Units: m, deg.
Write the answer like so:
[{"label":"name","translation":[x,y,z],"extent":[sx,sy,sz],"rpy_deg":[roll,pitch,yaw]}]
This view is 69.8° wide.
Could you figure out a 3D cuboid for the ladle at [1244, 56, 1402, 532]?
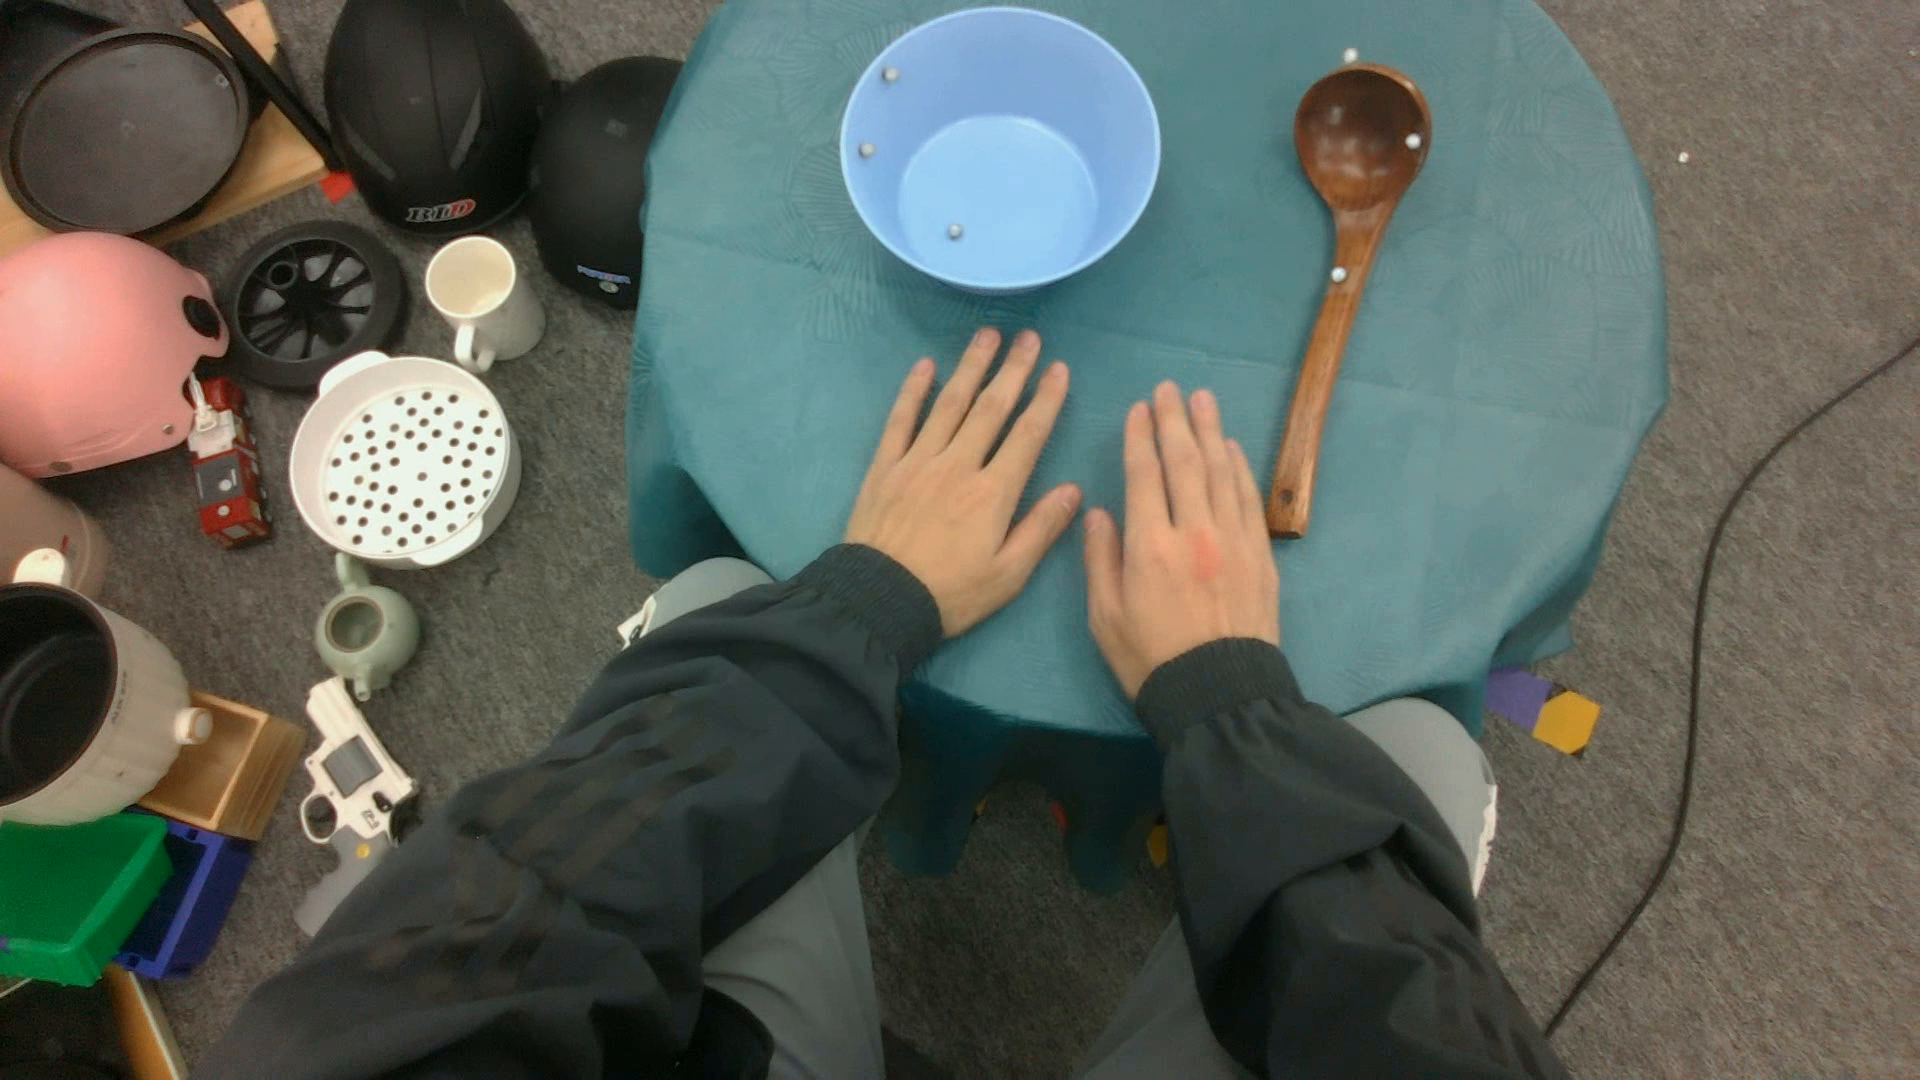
[{"label":"ladle","translation":[0.189,-0.144,0.778],"extent":[0.076,0.081,0.275],"rpy_deg":[29,72,-35]}]

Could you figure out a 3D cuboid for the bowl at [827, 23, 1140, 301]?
[{"label":"bowl","translation":[0.014,-0.207,0.800],"extent":[0.176,0.070,0.176],"rpy_deg":[0,72,2]}]
